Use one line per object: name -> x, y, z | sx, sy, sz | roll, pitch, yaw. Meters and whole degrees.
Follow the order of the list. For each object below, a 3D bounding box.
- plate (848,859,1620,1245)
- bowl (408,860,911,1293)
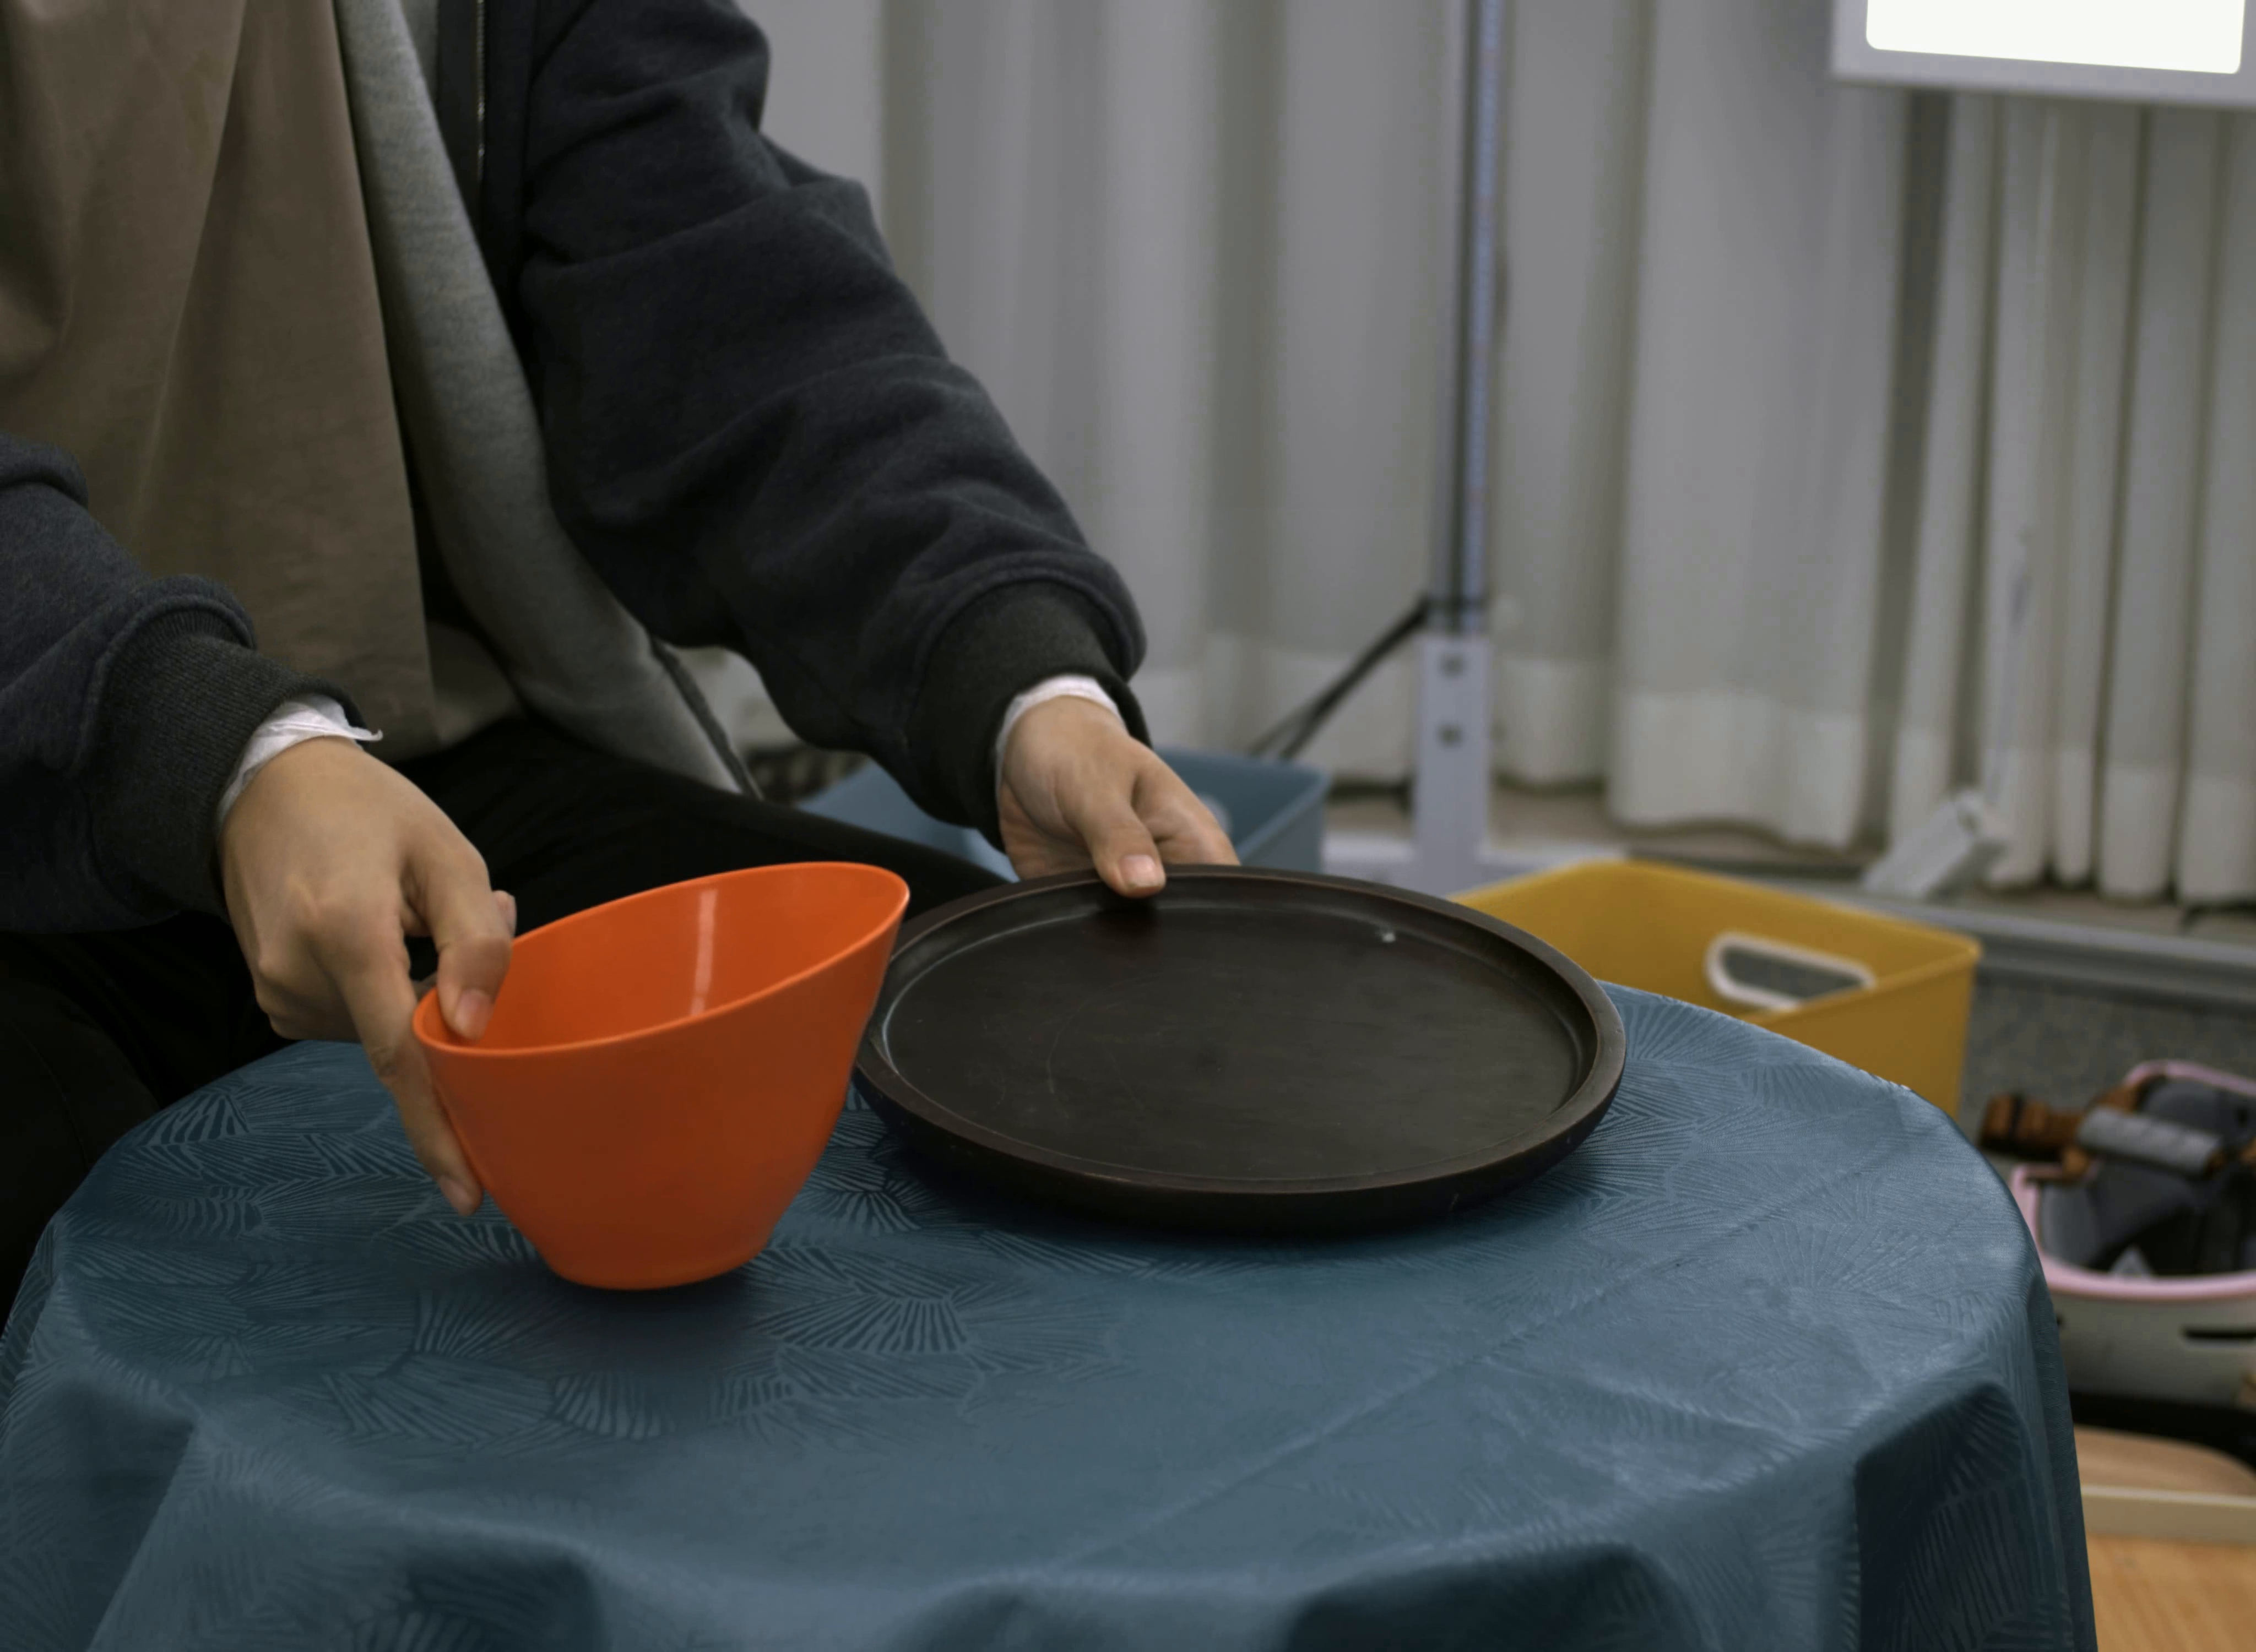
plate -> 0.031, 0.070, 1.681 | 0.254, 0.029, 0.253 | 2, 24, 0
bowl -> -0.132, 0.075, 1.524 | 0.147, 0.105, 0.147 | -4, 19, 2
